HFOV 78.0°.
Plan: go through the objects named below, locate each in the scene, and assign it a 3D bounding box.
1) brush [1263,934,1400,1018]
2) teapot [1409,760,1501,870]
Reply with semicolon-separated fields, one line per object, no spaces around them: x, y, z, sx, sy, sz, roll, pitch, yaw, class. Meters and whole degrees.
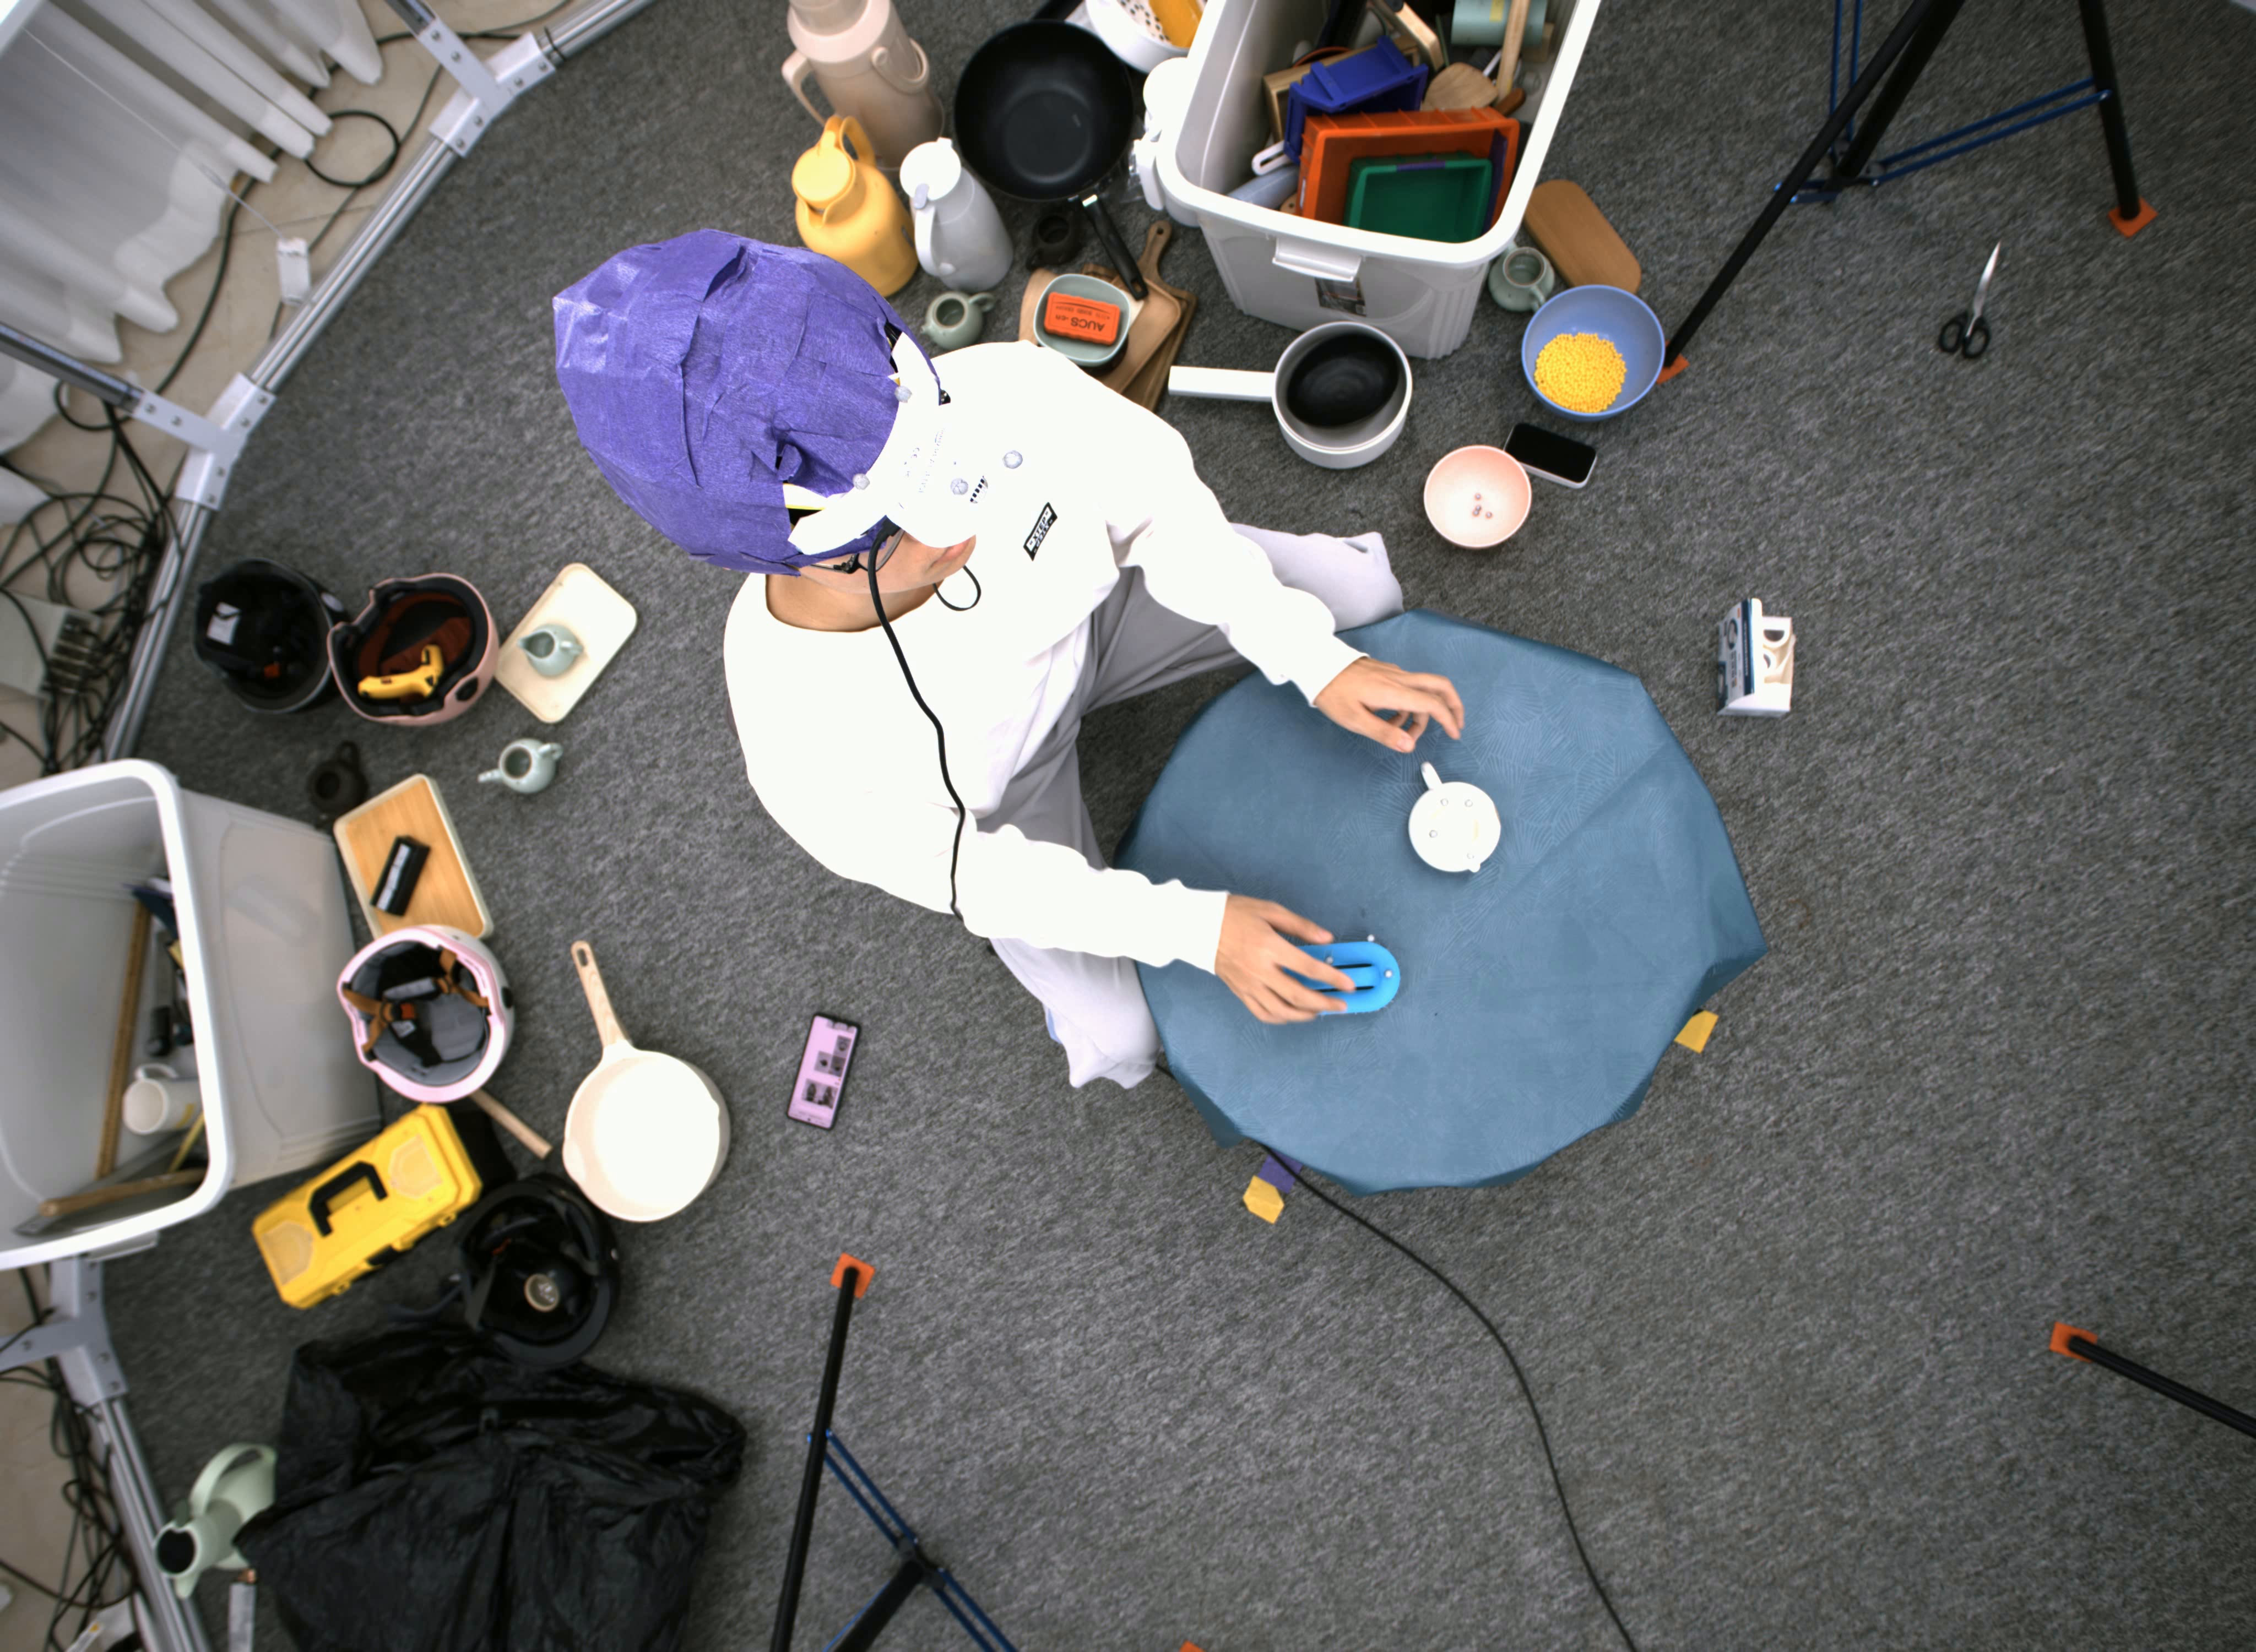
0.211;0.156;1.432;0.142;0.063;0.084;-4;90;11;brush
0.333;-0.012;1.425;0.094;0.056;0.126;-30;80;12;teapot
